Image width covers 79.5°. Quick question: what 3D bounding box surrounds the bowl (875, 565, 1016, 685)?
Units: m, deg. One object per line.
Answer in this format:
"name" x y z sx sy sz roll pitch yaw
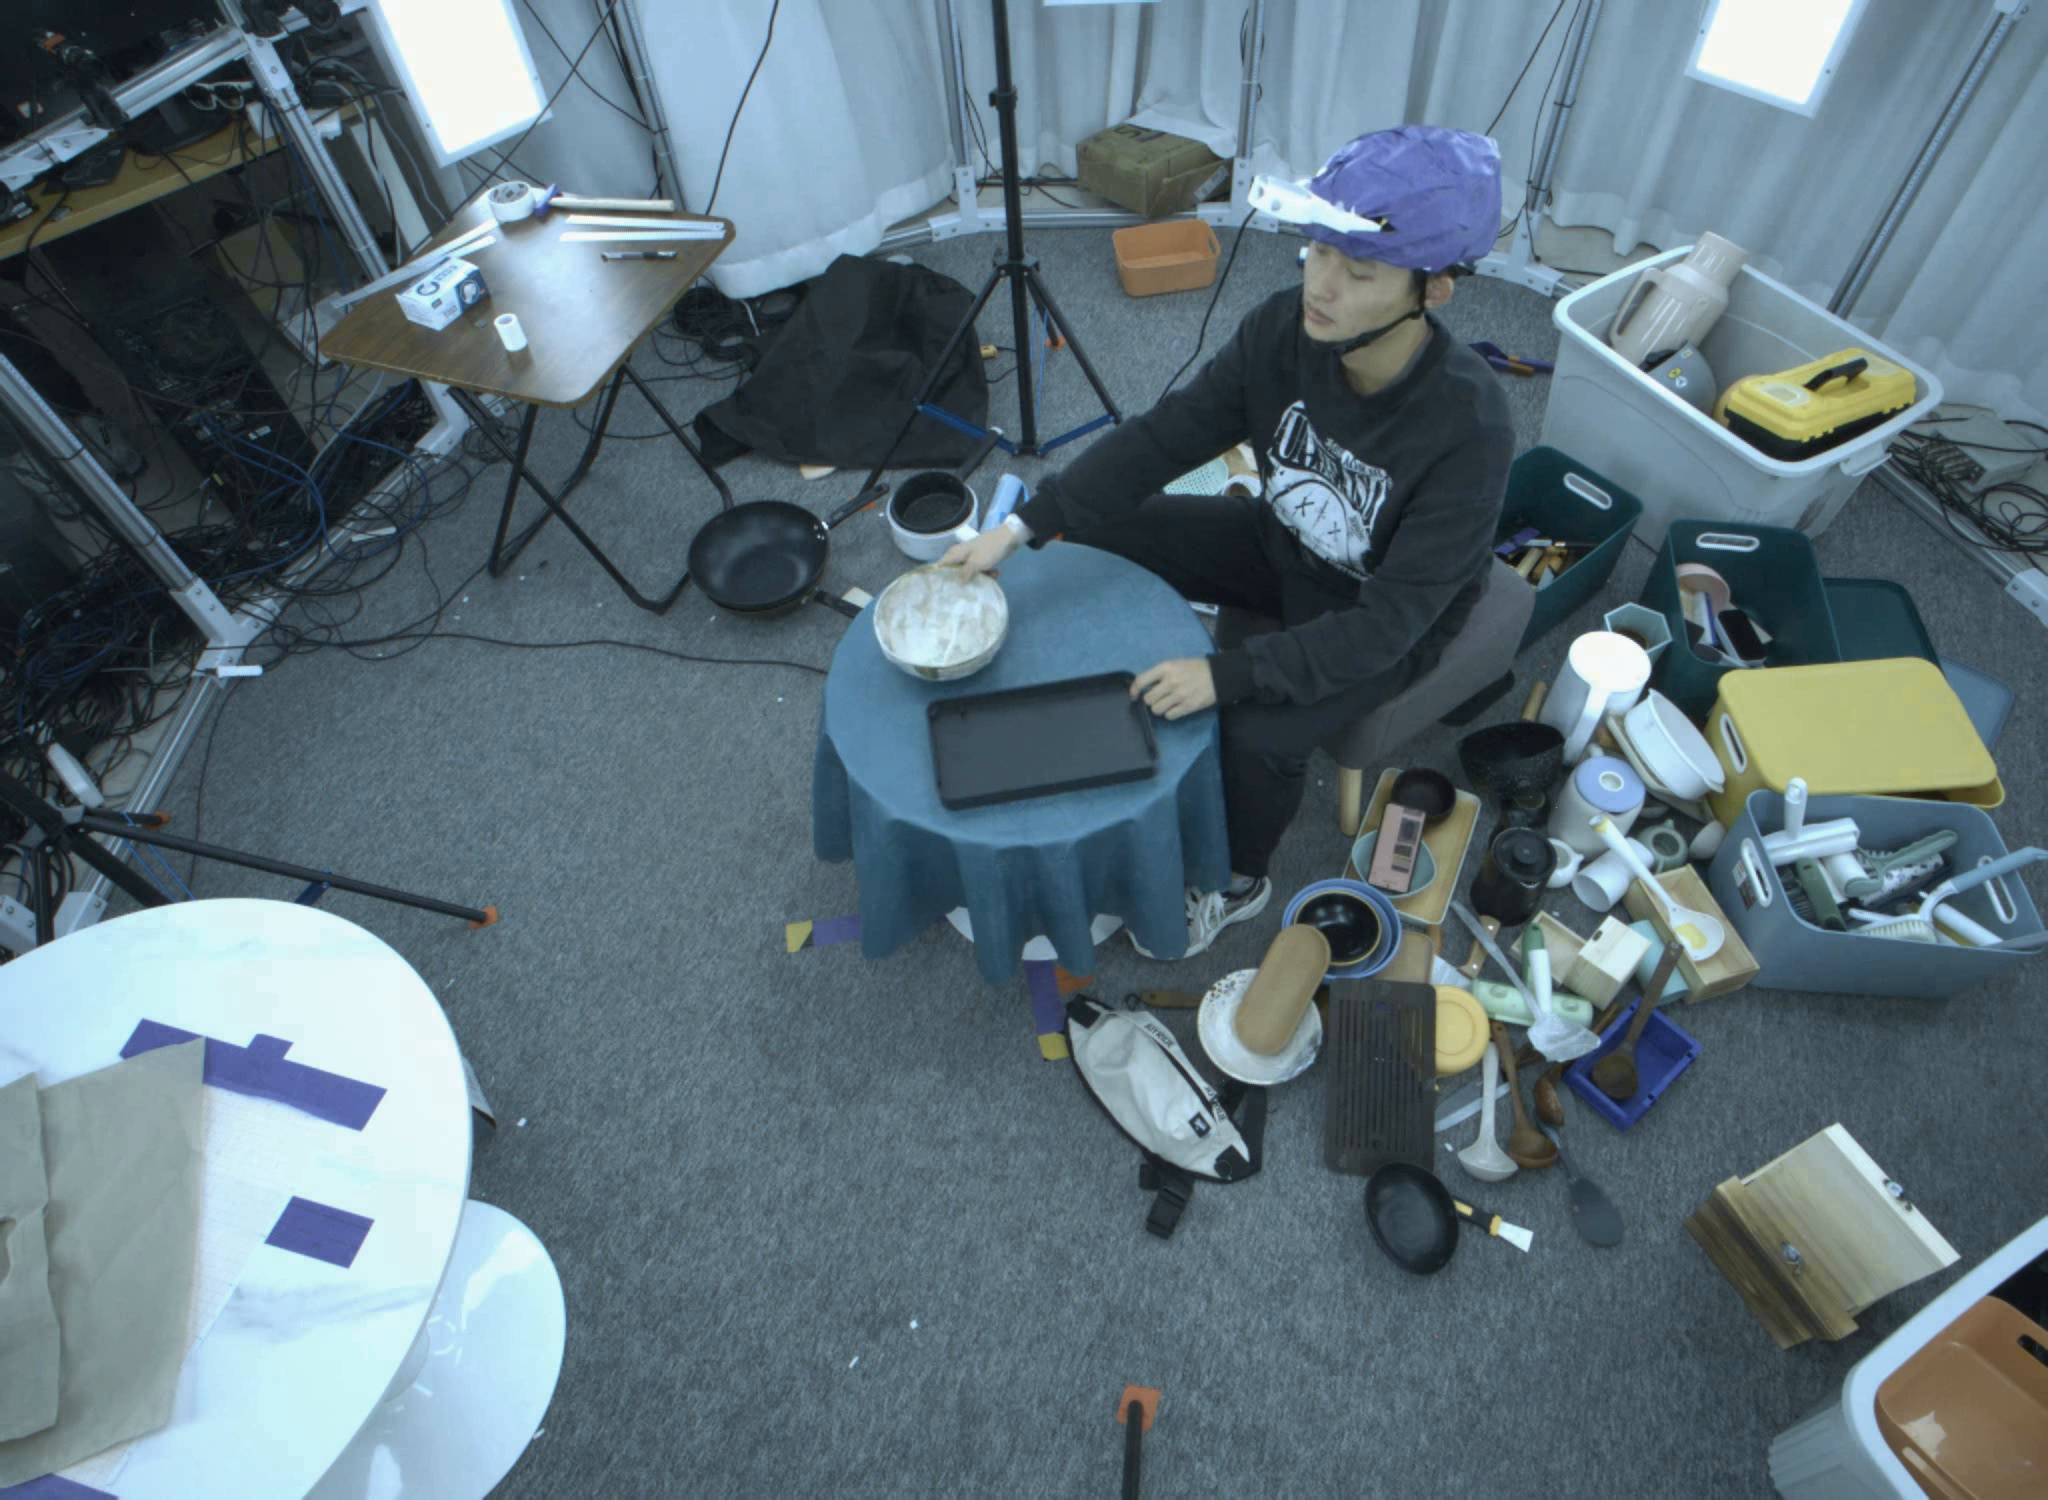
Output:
"bowl" -0.115 -0.174 1.865 0.214 0.095 0.212 0 57 2

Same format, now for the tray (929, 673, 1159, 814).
"tray" 0.027 -0.011 1.786 0.318 0.037 0.182 -9 56 -2
